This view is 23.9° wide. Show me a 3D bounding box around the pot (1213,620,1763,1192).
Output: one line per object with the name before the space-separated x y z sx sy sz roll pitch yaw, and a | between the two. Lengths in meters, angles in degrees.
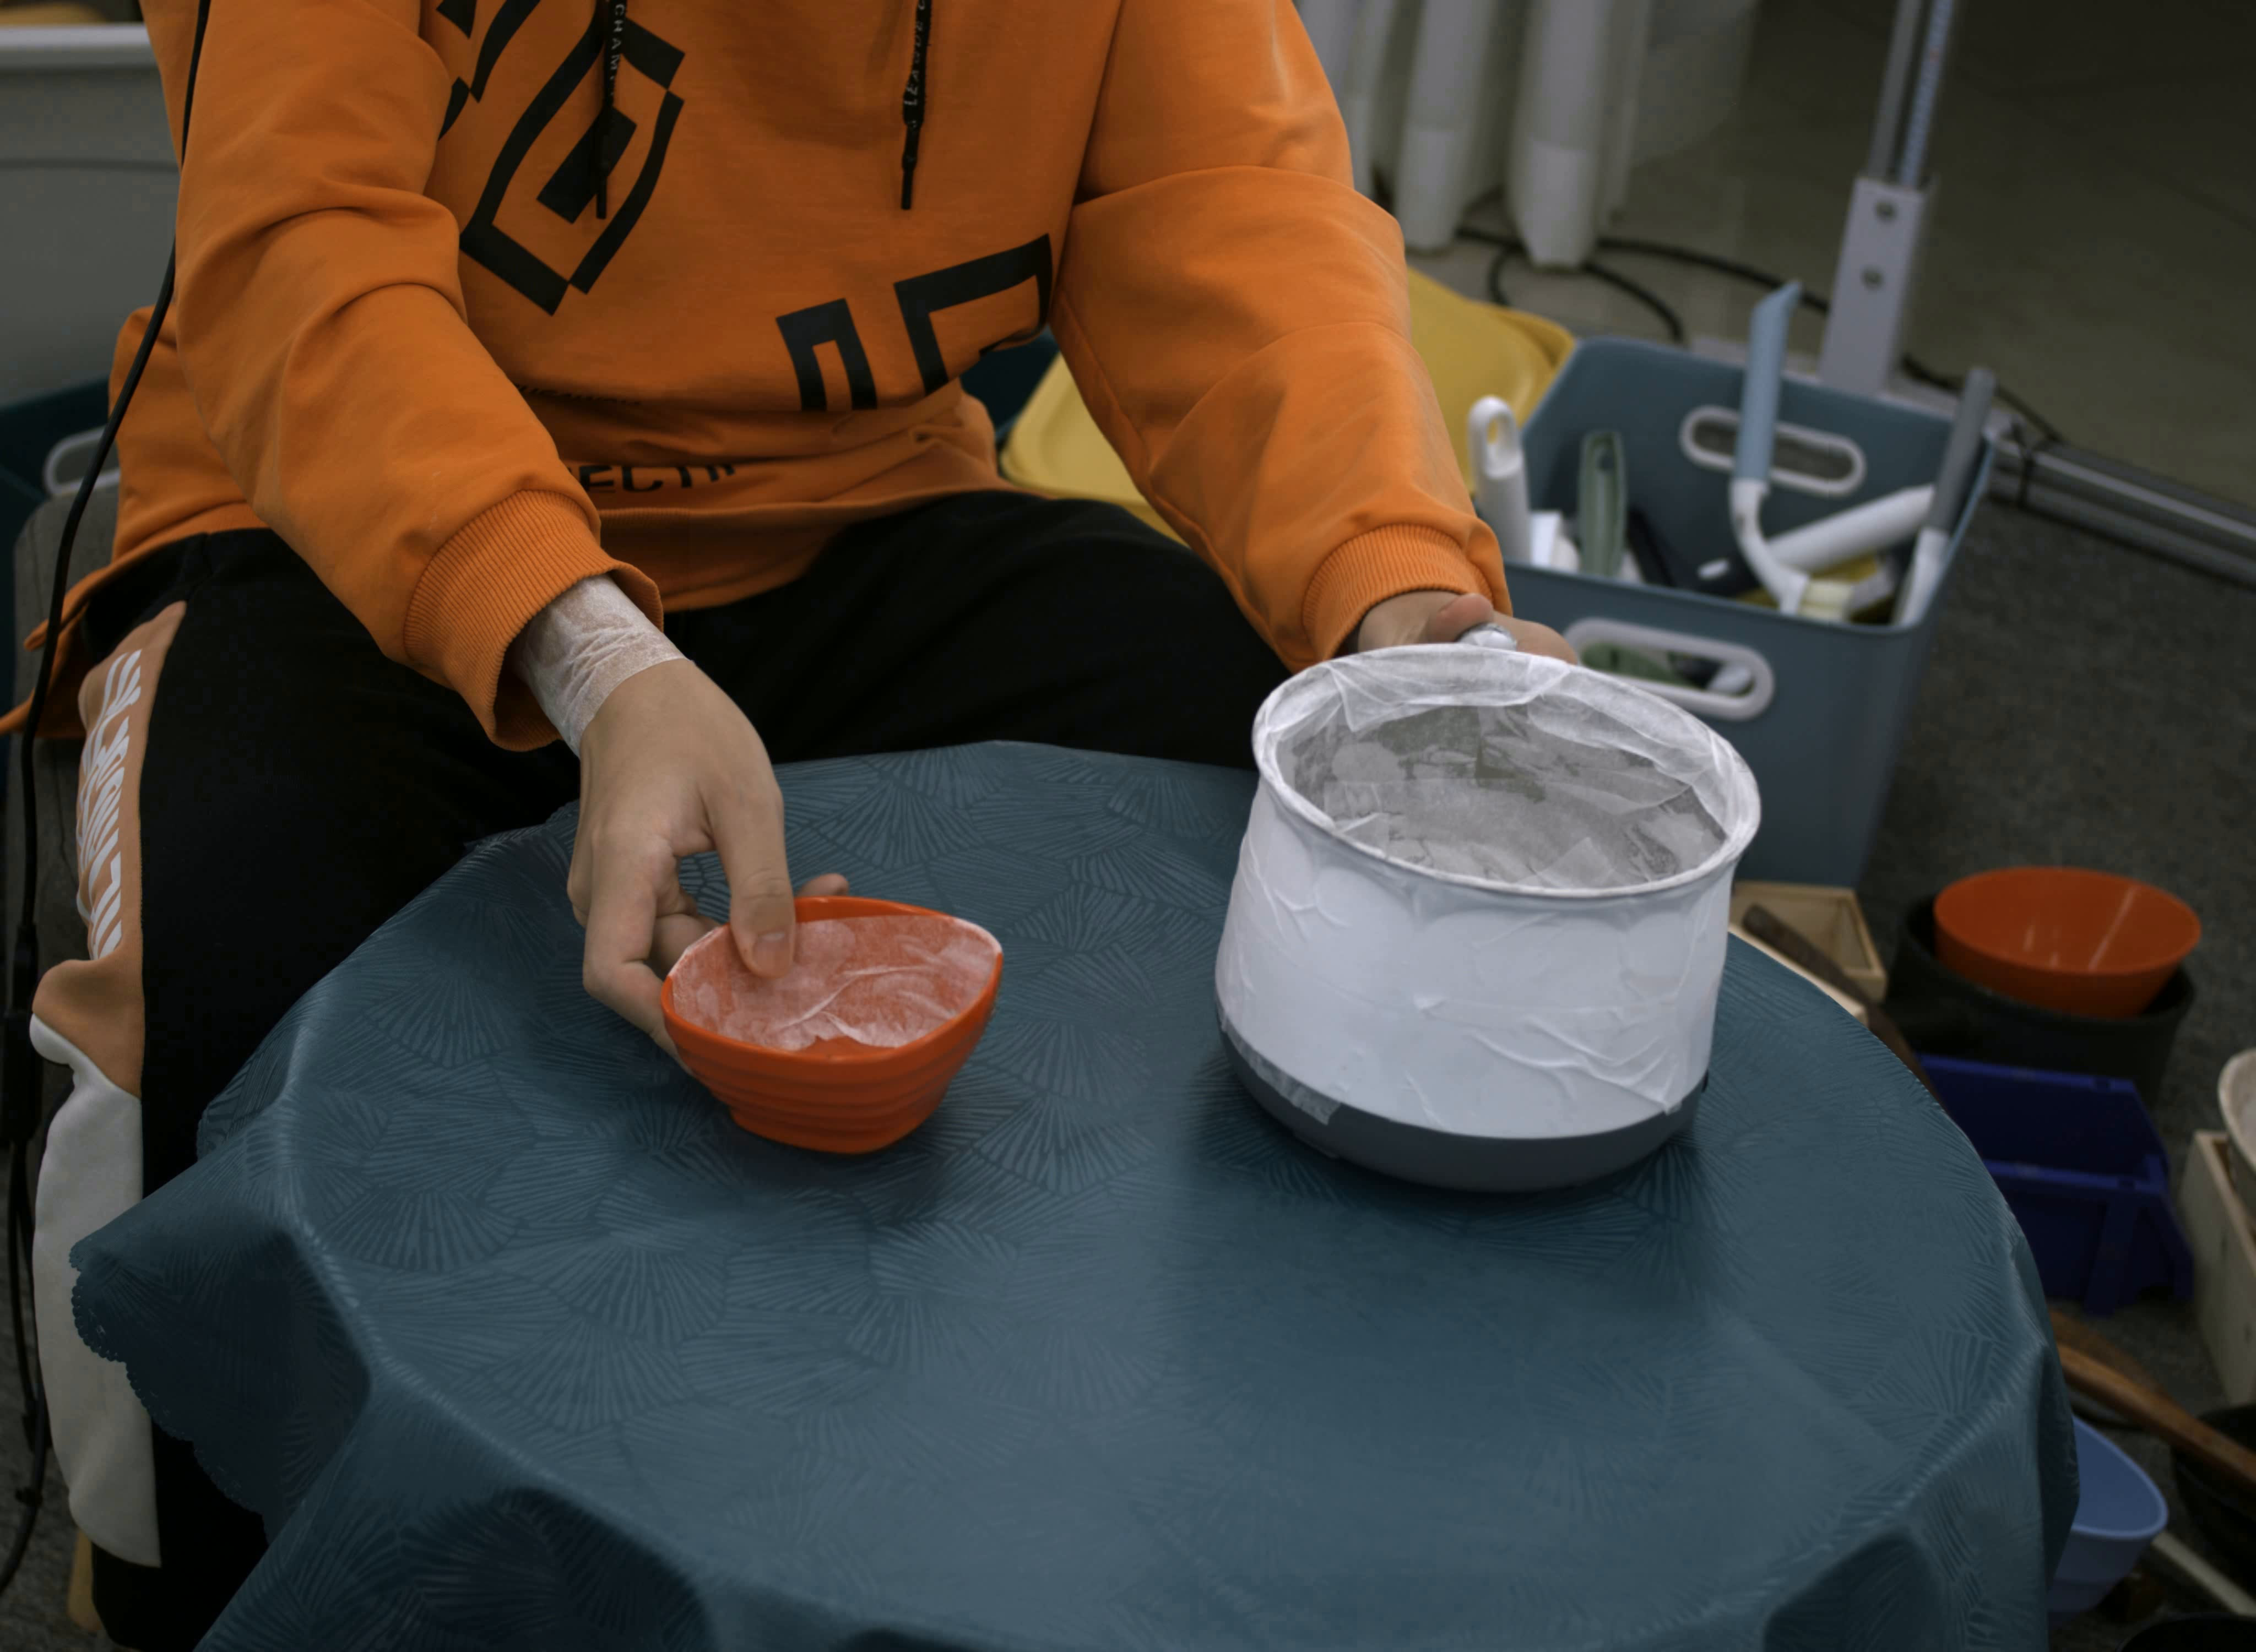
pot | 0.121 0.020 1.875 0.178 0.136 0.235 6 28 -4

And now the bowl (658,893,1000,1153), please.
bowl | -0.100 0.071 1.817 0.118 0.051 0.119 -3 28 1
